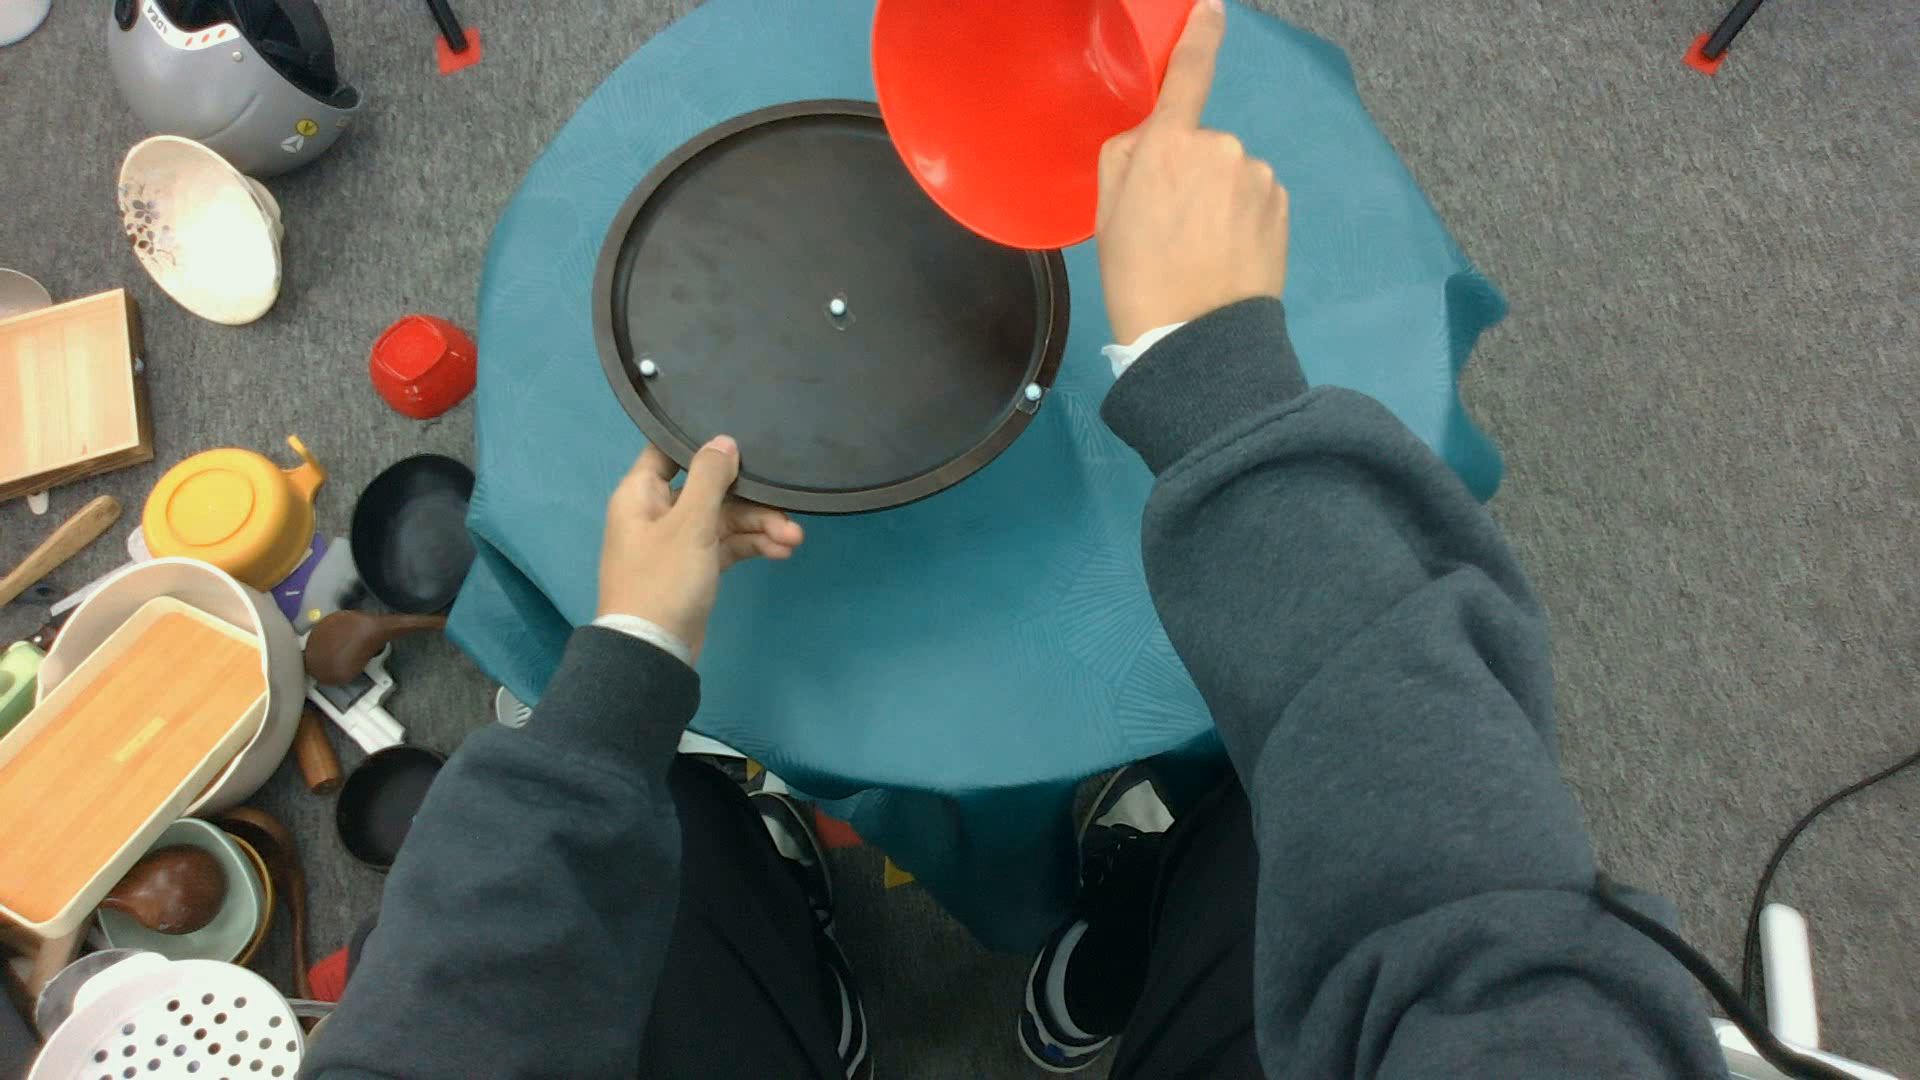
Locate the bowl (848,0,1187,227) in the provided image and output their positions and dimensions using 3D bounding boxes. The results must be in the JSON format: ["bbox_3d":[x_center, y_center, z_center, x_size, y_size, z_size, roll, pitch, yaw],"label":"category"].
[{"bbox_3d":[0.037,-0.228,0.632,0.148,0.147,0.105,44,54,16],"label":"bowl"}]

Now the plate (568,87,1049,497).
[{"bbox_3d":[-0.079,-0.137,0.735,0.255,0.029,0.255,2,67,-4],"label":"plate"}]
